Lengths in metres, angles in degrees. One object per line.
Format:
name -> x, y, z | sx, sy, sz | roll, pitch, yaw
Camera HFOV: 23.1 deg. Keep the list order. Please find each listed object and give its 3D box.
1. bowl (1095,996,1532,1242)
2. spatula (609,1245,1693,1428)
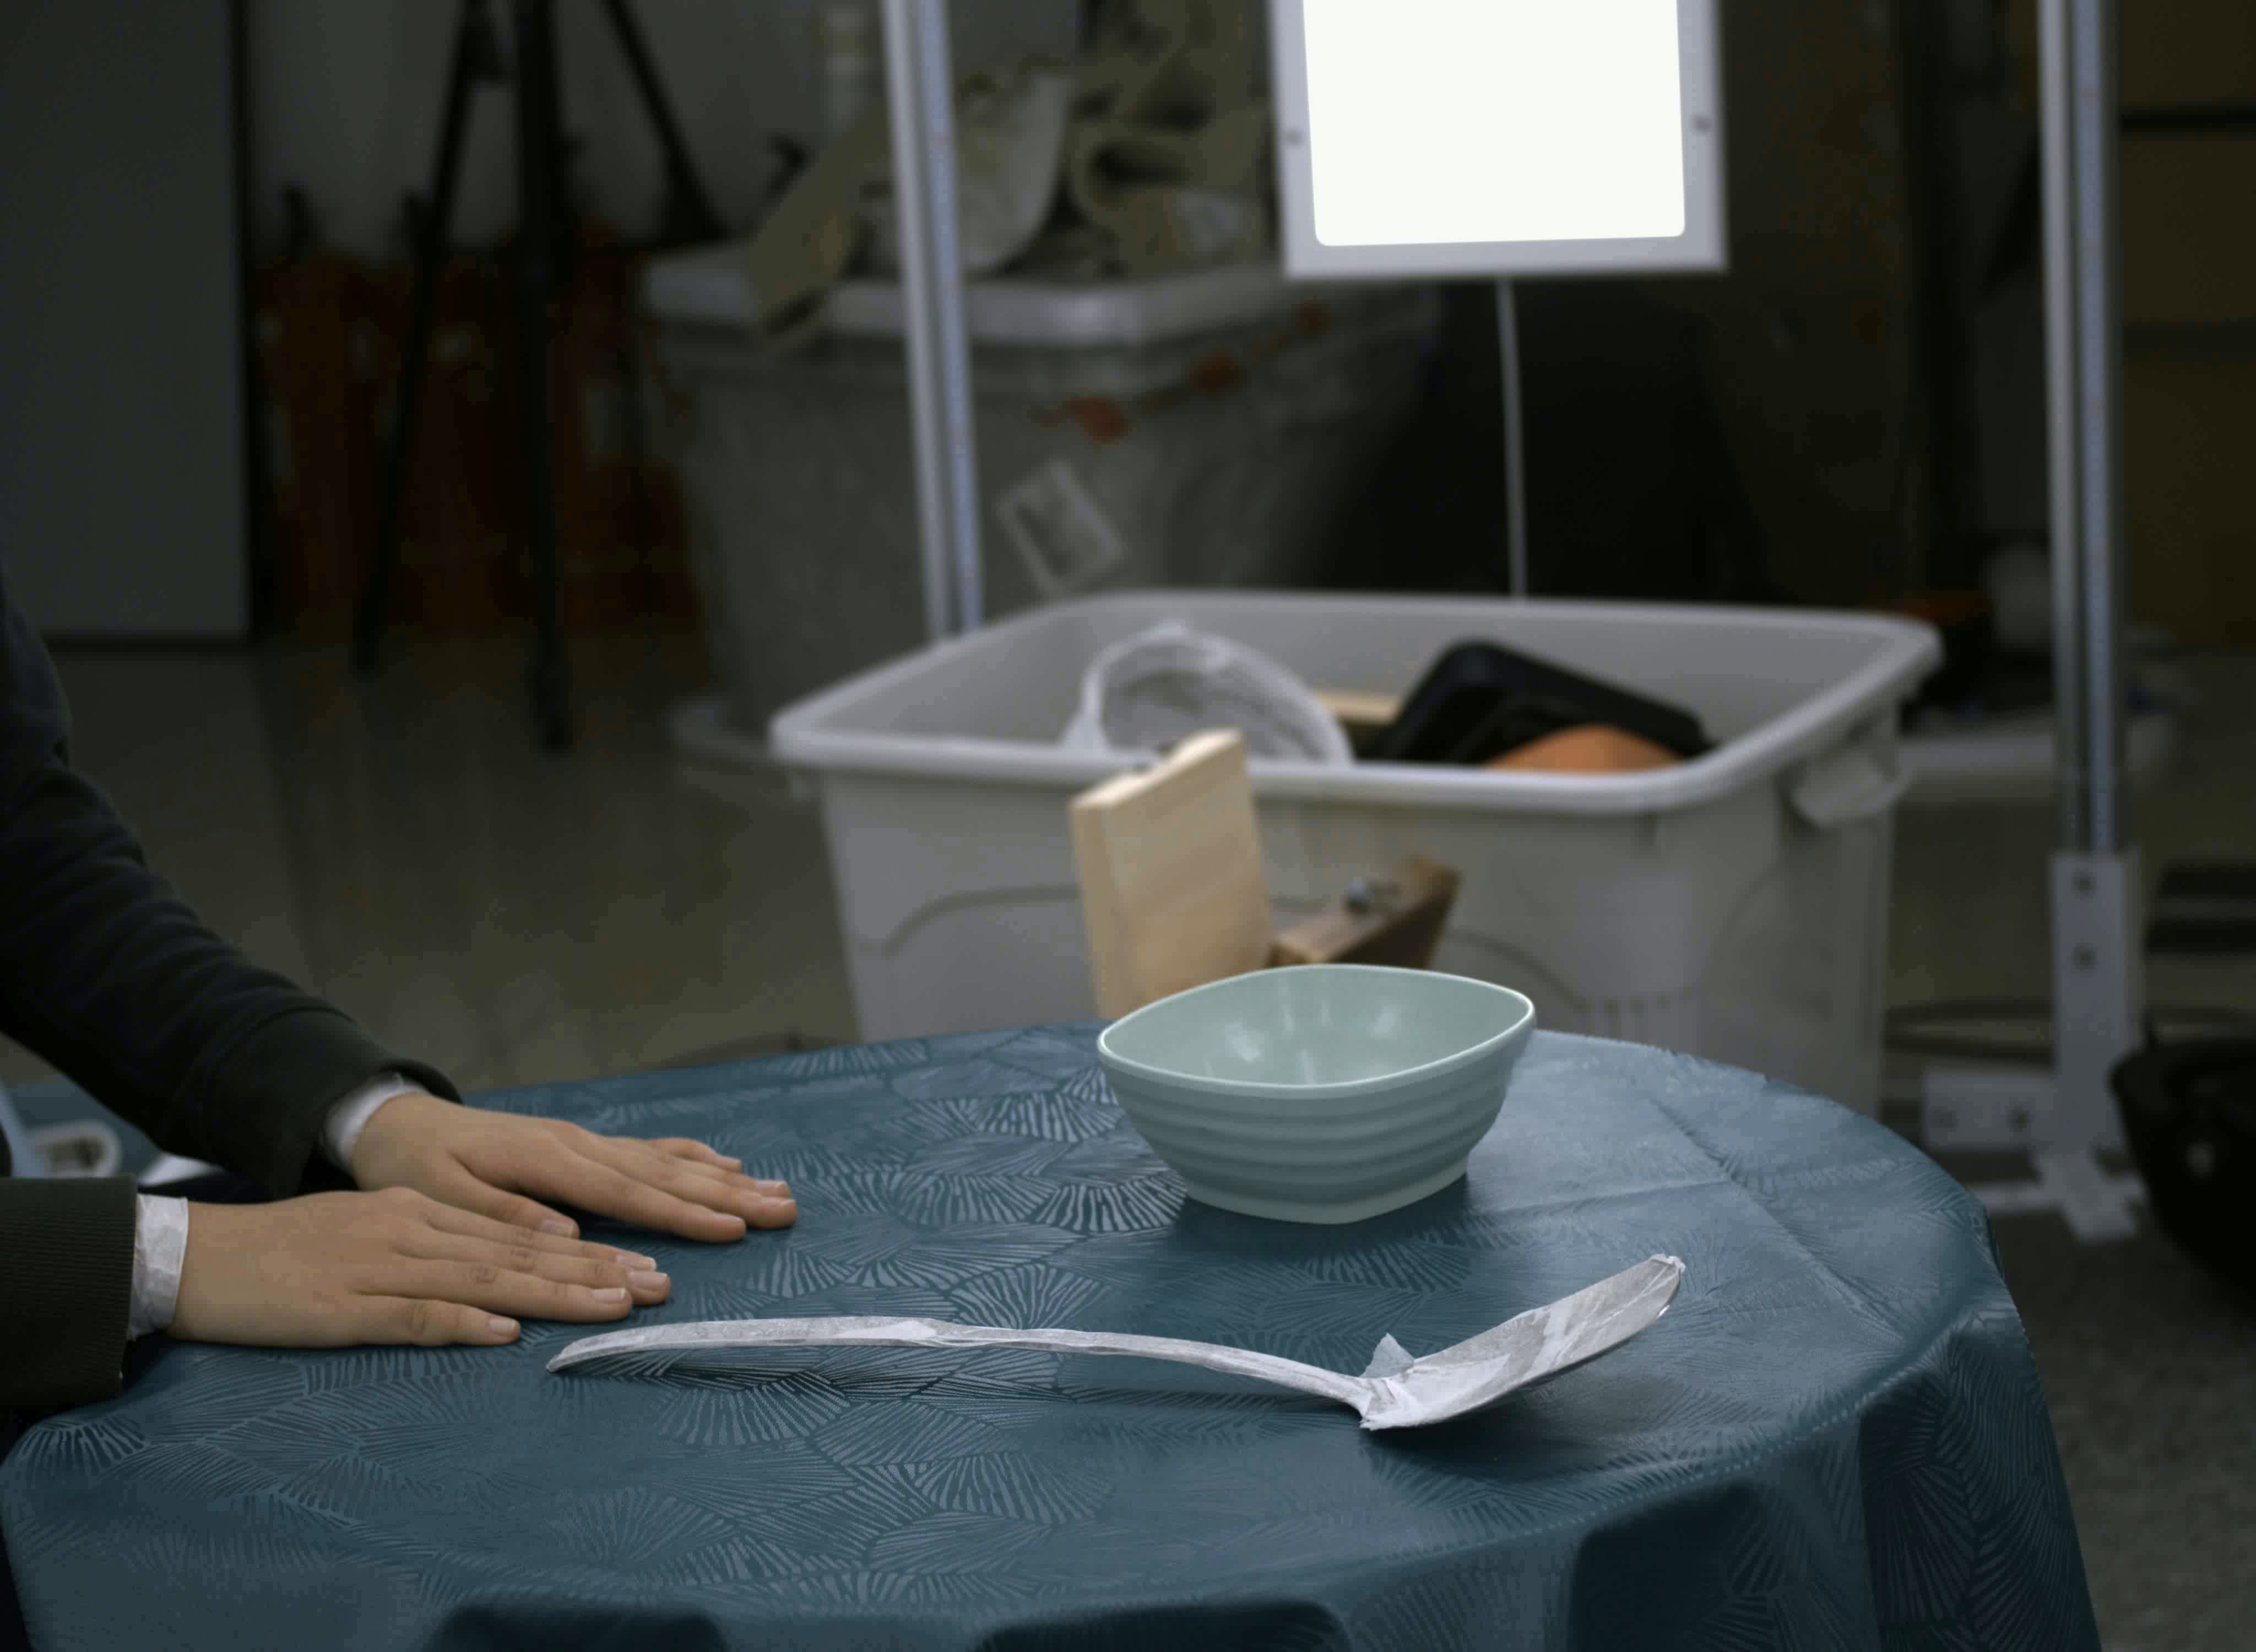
bowl -> 0.067, 0.102, 1.880 | 0.151, 0.059, 0.151 | -8, 10, 0
spatula -> -0.004, 0.155, 1.701 | 0.370, 0.045, 0.097 | 1, 17, 23
